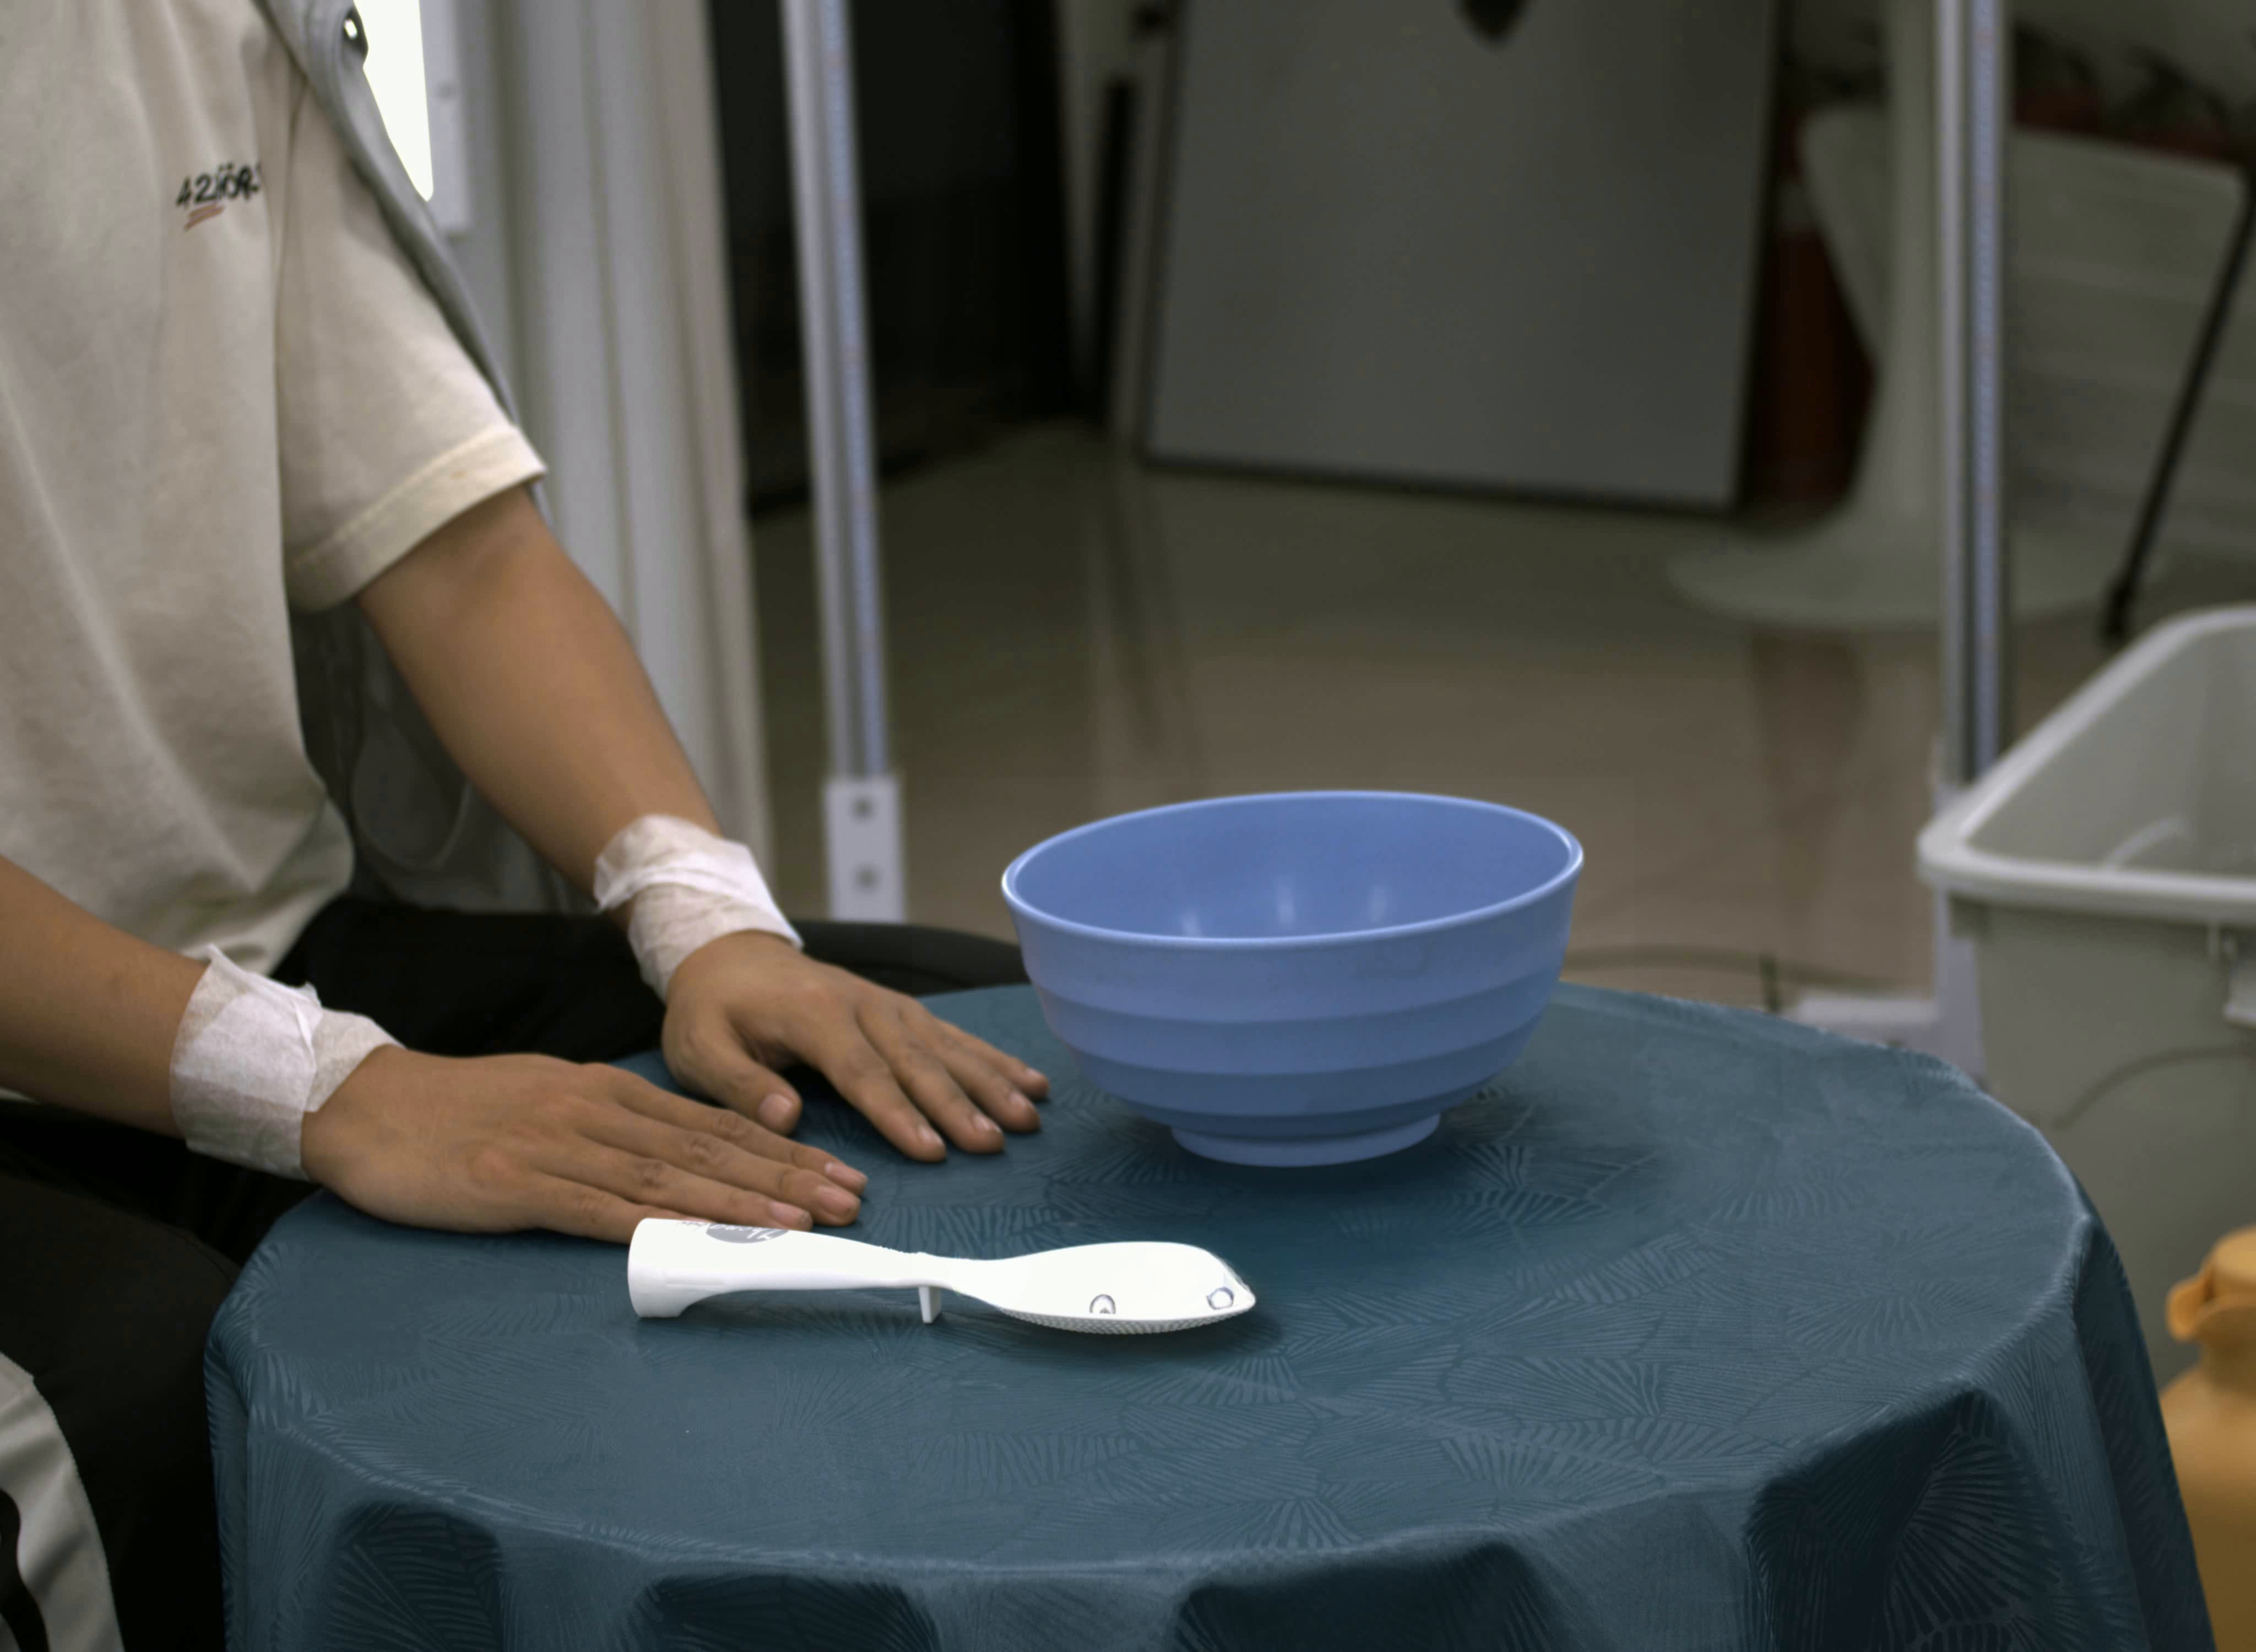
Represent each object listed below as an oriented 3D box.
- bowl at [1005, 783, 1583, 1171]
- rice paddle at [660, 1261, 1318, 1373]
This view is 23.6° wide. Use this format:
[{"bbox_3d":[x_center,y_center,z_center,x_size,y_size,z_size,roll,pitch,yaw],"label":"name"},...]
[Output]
[{"bbox_3d":[0.058,0.056,1.818,0.194,0.096,0.197,-3,15,0],"label":"bowl"},{"bbox_3d":[-0.042,0.143,1.655,0.203,0.030,0.068,-6,0,8],"label":"rice paddle"}]
